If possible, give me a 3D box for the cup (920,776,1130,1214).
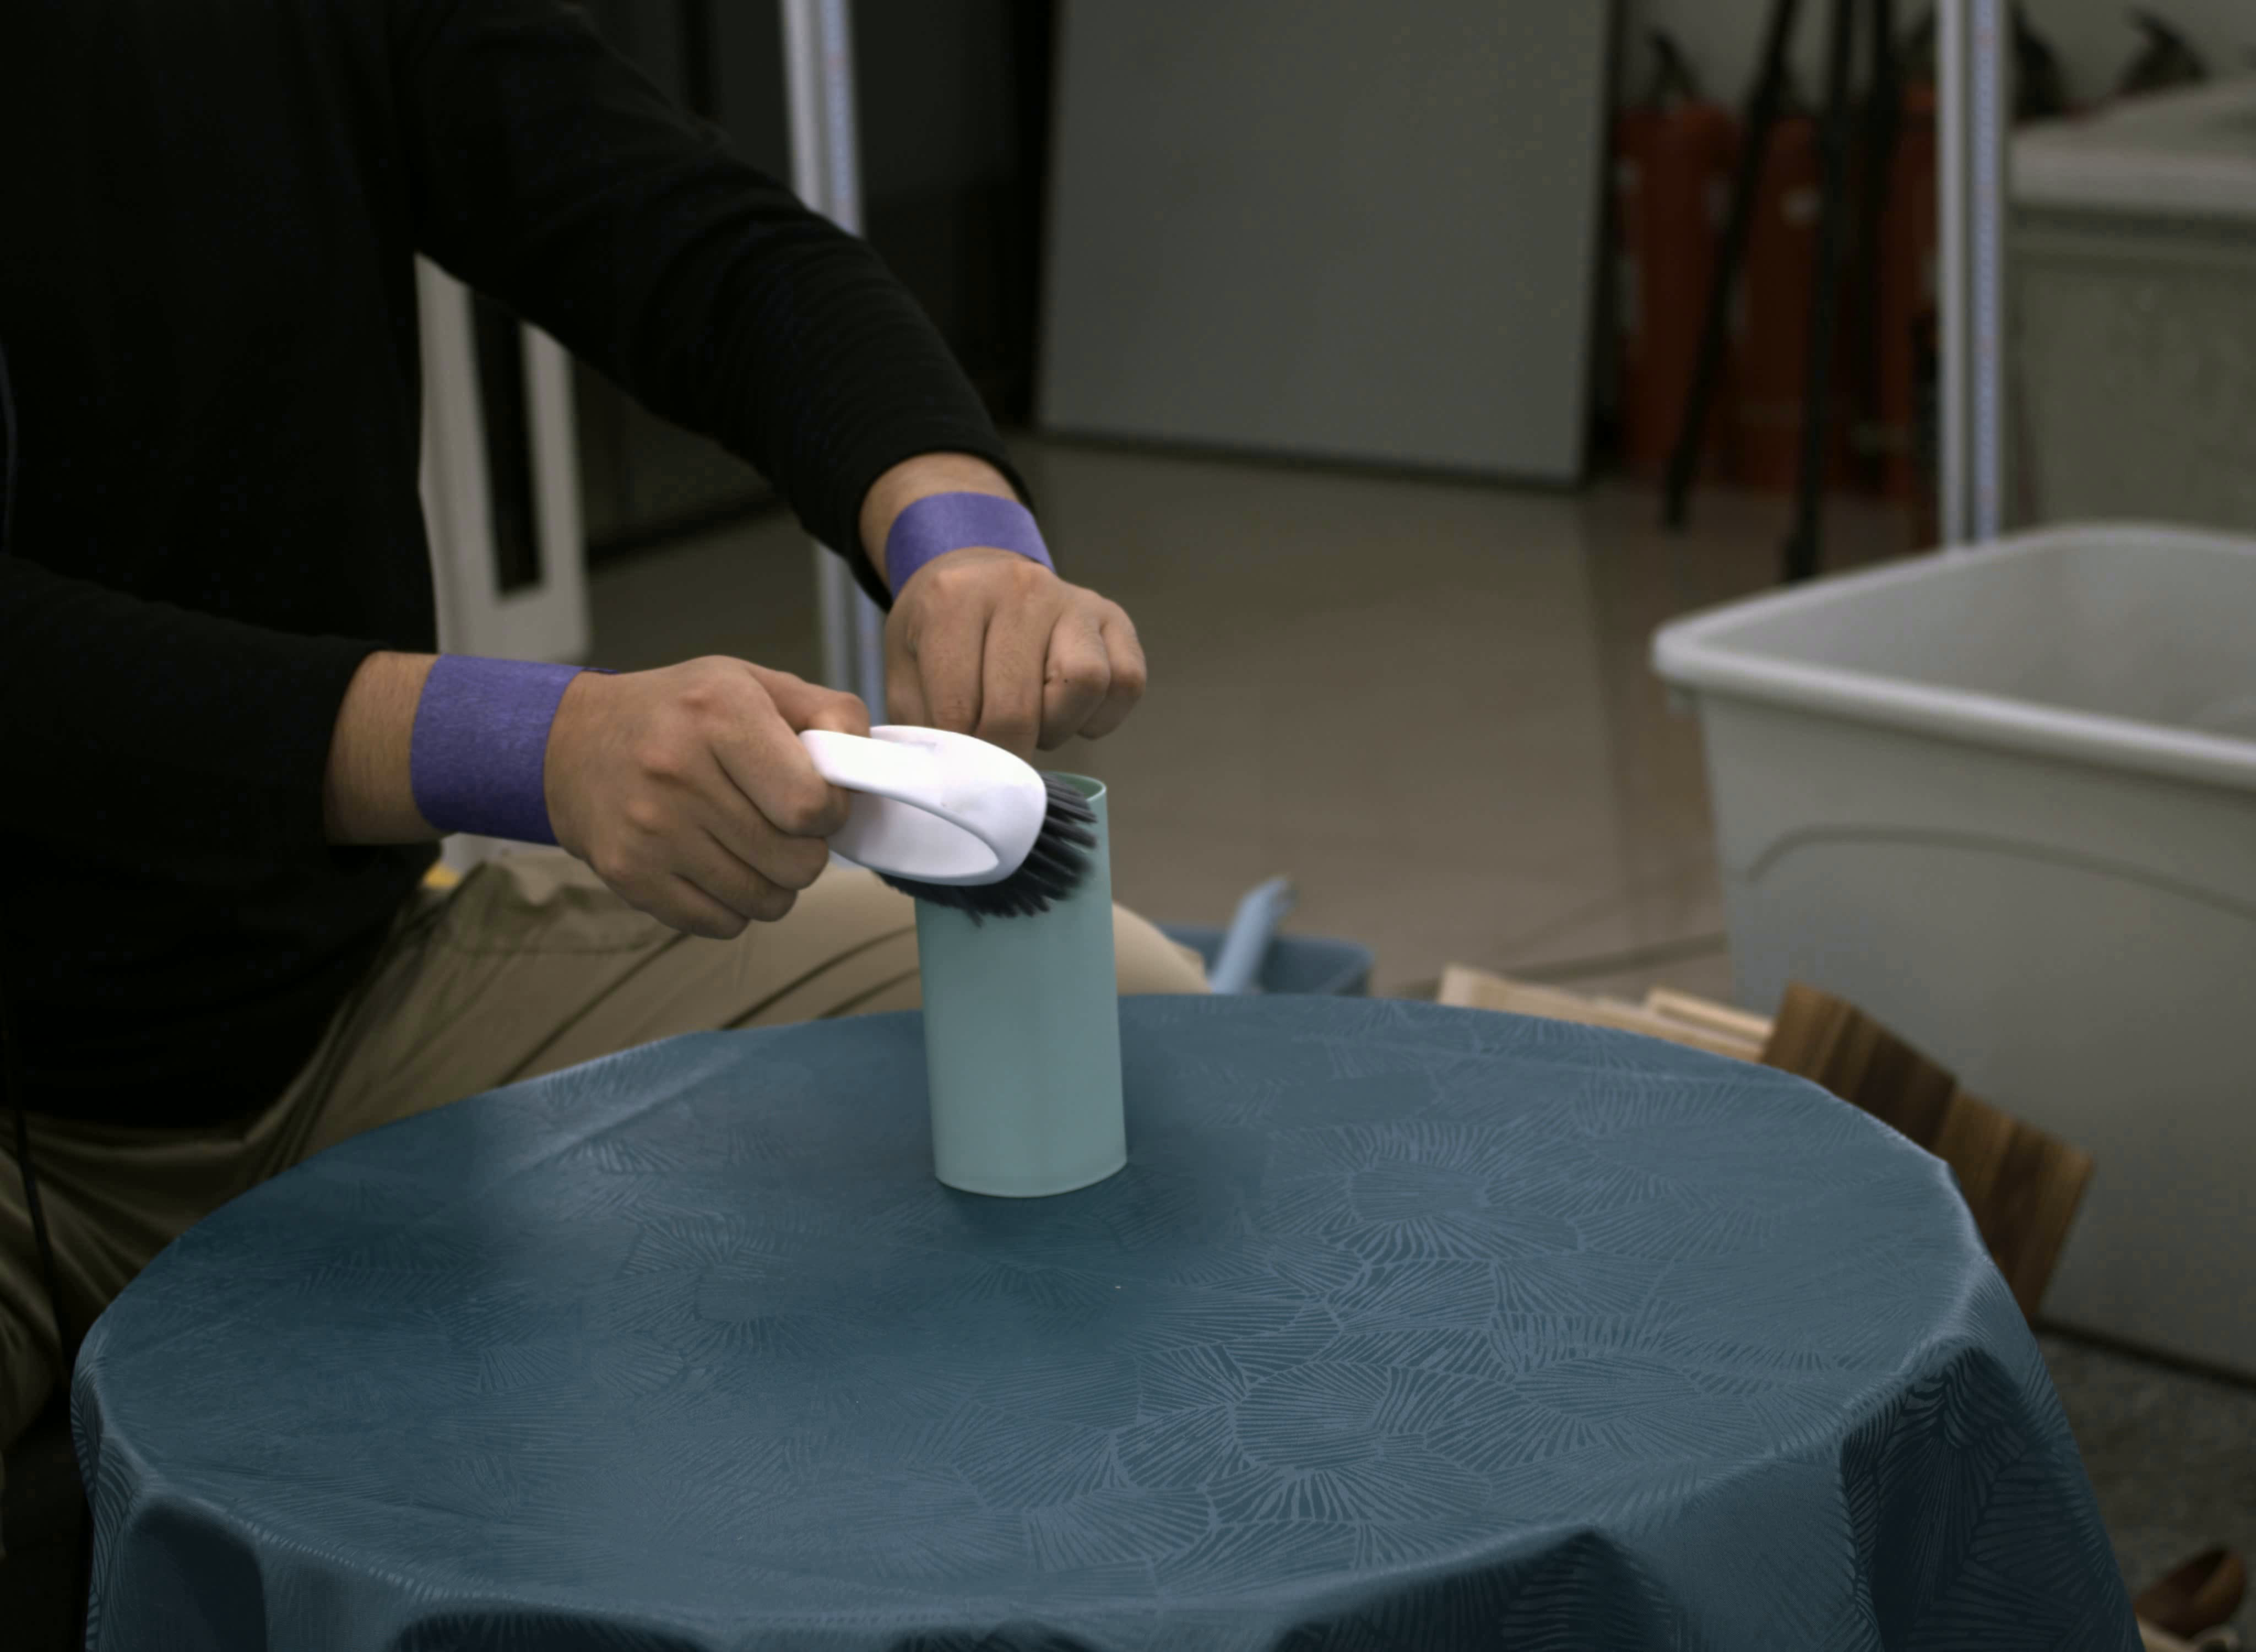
[{"bbox_3d":[-0.035,0.055,1.785,0.066,0.134,0.067,-3,13,0],"label":"cup"}]

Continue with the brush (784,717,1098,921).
[{"bbox_3d":[-0.067,-0.010,1.715,0.100,0.050,0.071,14,-12,44],"label":"brush"}]
